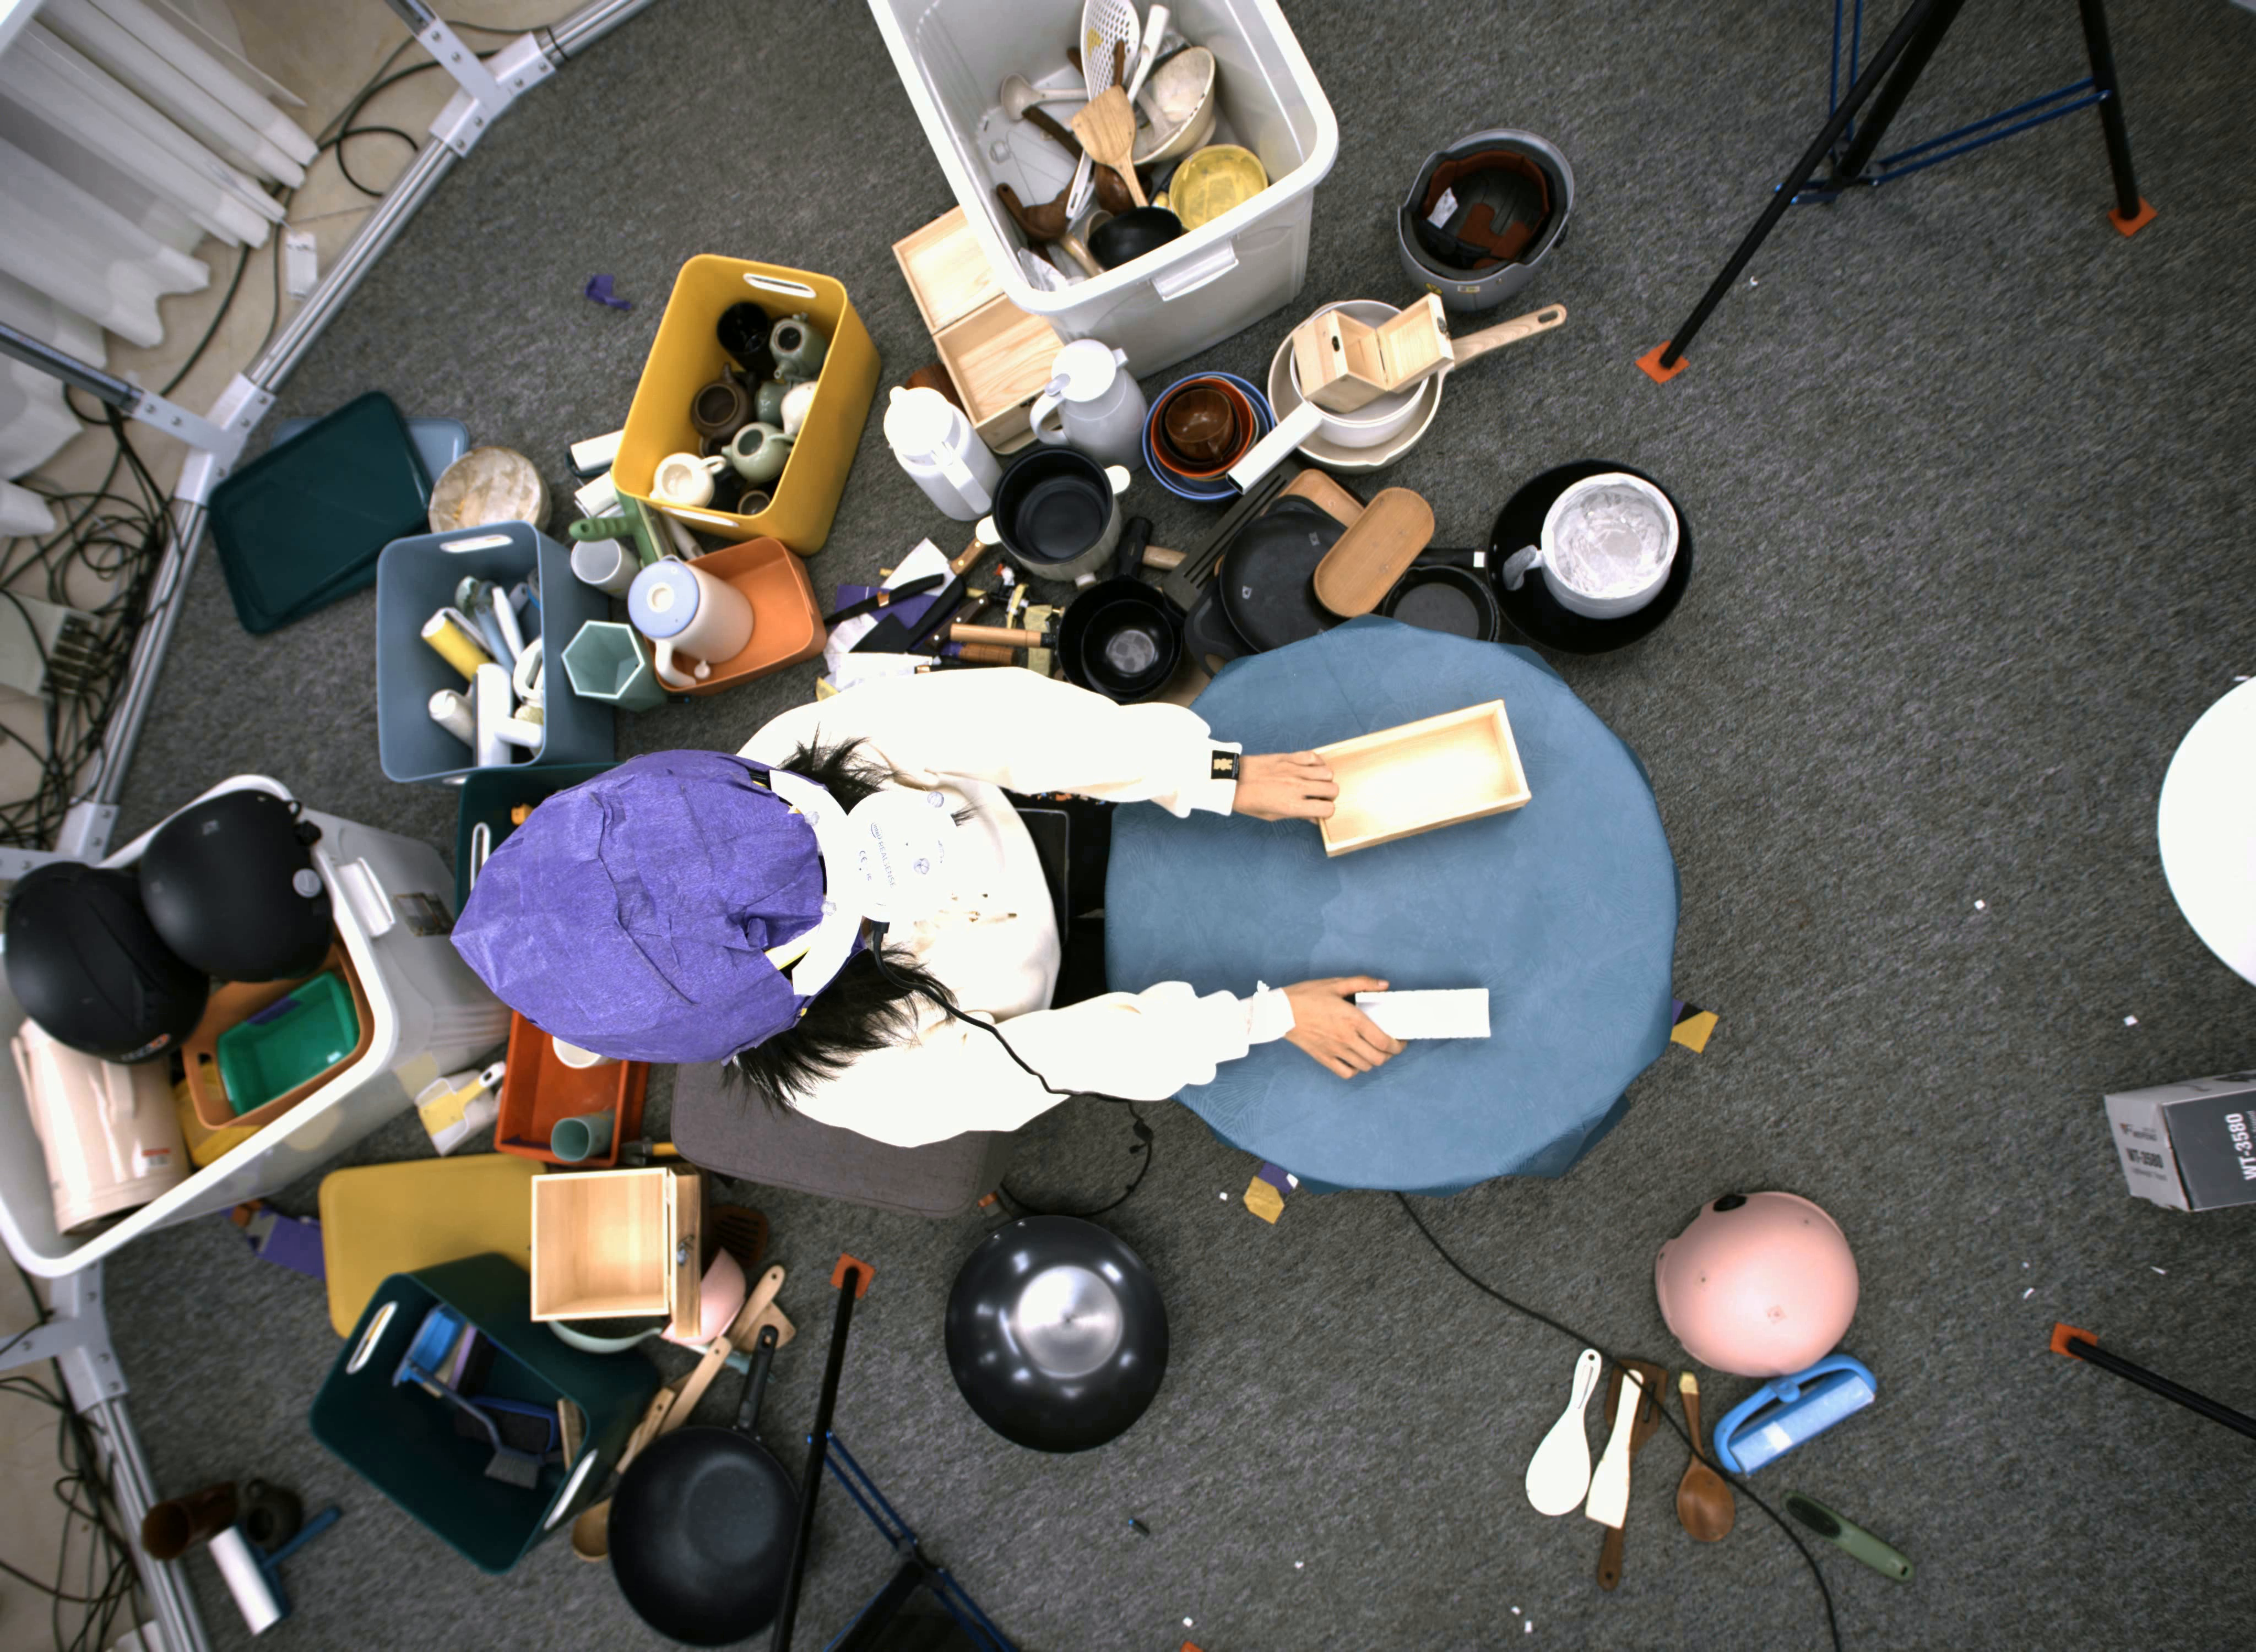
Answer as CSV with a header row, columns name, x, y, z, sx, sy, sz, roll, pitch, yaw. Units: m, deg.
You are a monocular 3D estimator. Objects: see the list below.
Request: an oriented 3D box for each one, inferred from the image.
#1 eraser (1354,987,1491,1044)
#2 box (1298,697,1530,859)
name,x,y,z,sx,sy,sz,roll,pitch,yaw
eraser,0.303,0.194,1.424,0.135,0.046,0.049,-5,87,9
box,0.292,-0.049,1.420,0.212,0.080,0.107,-16,82,7
